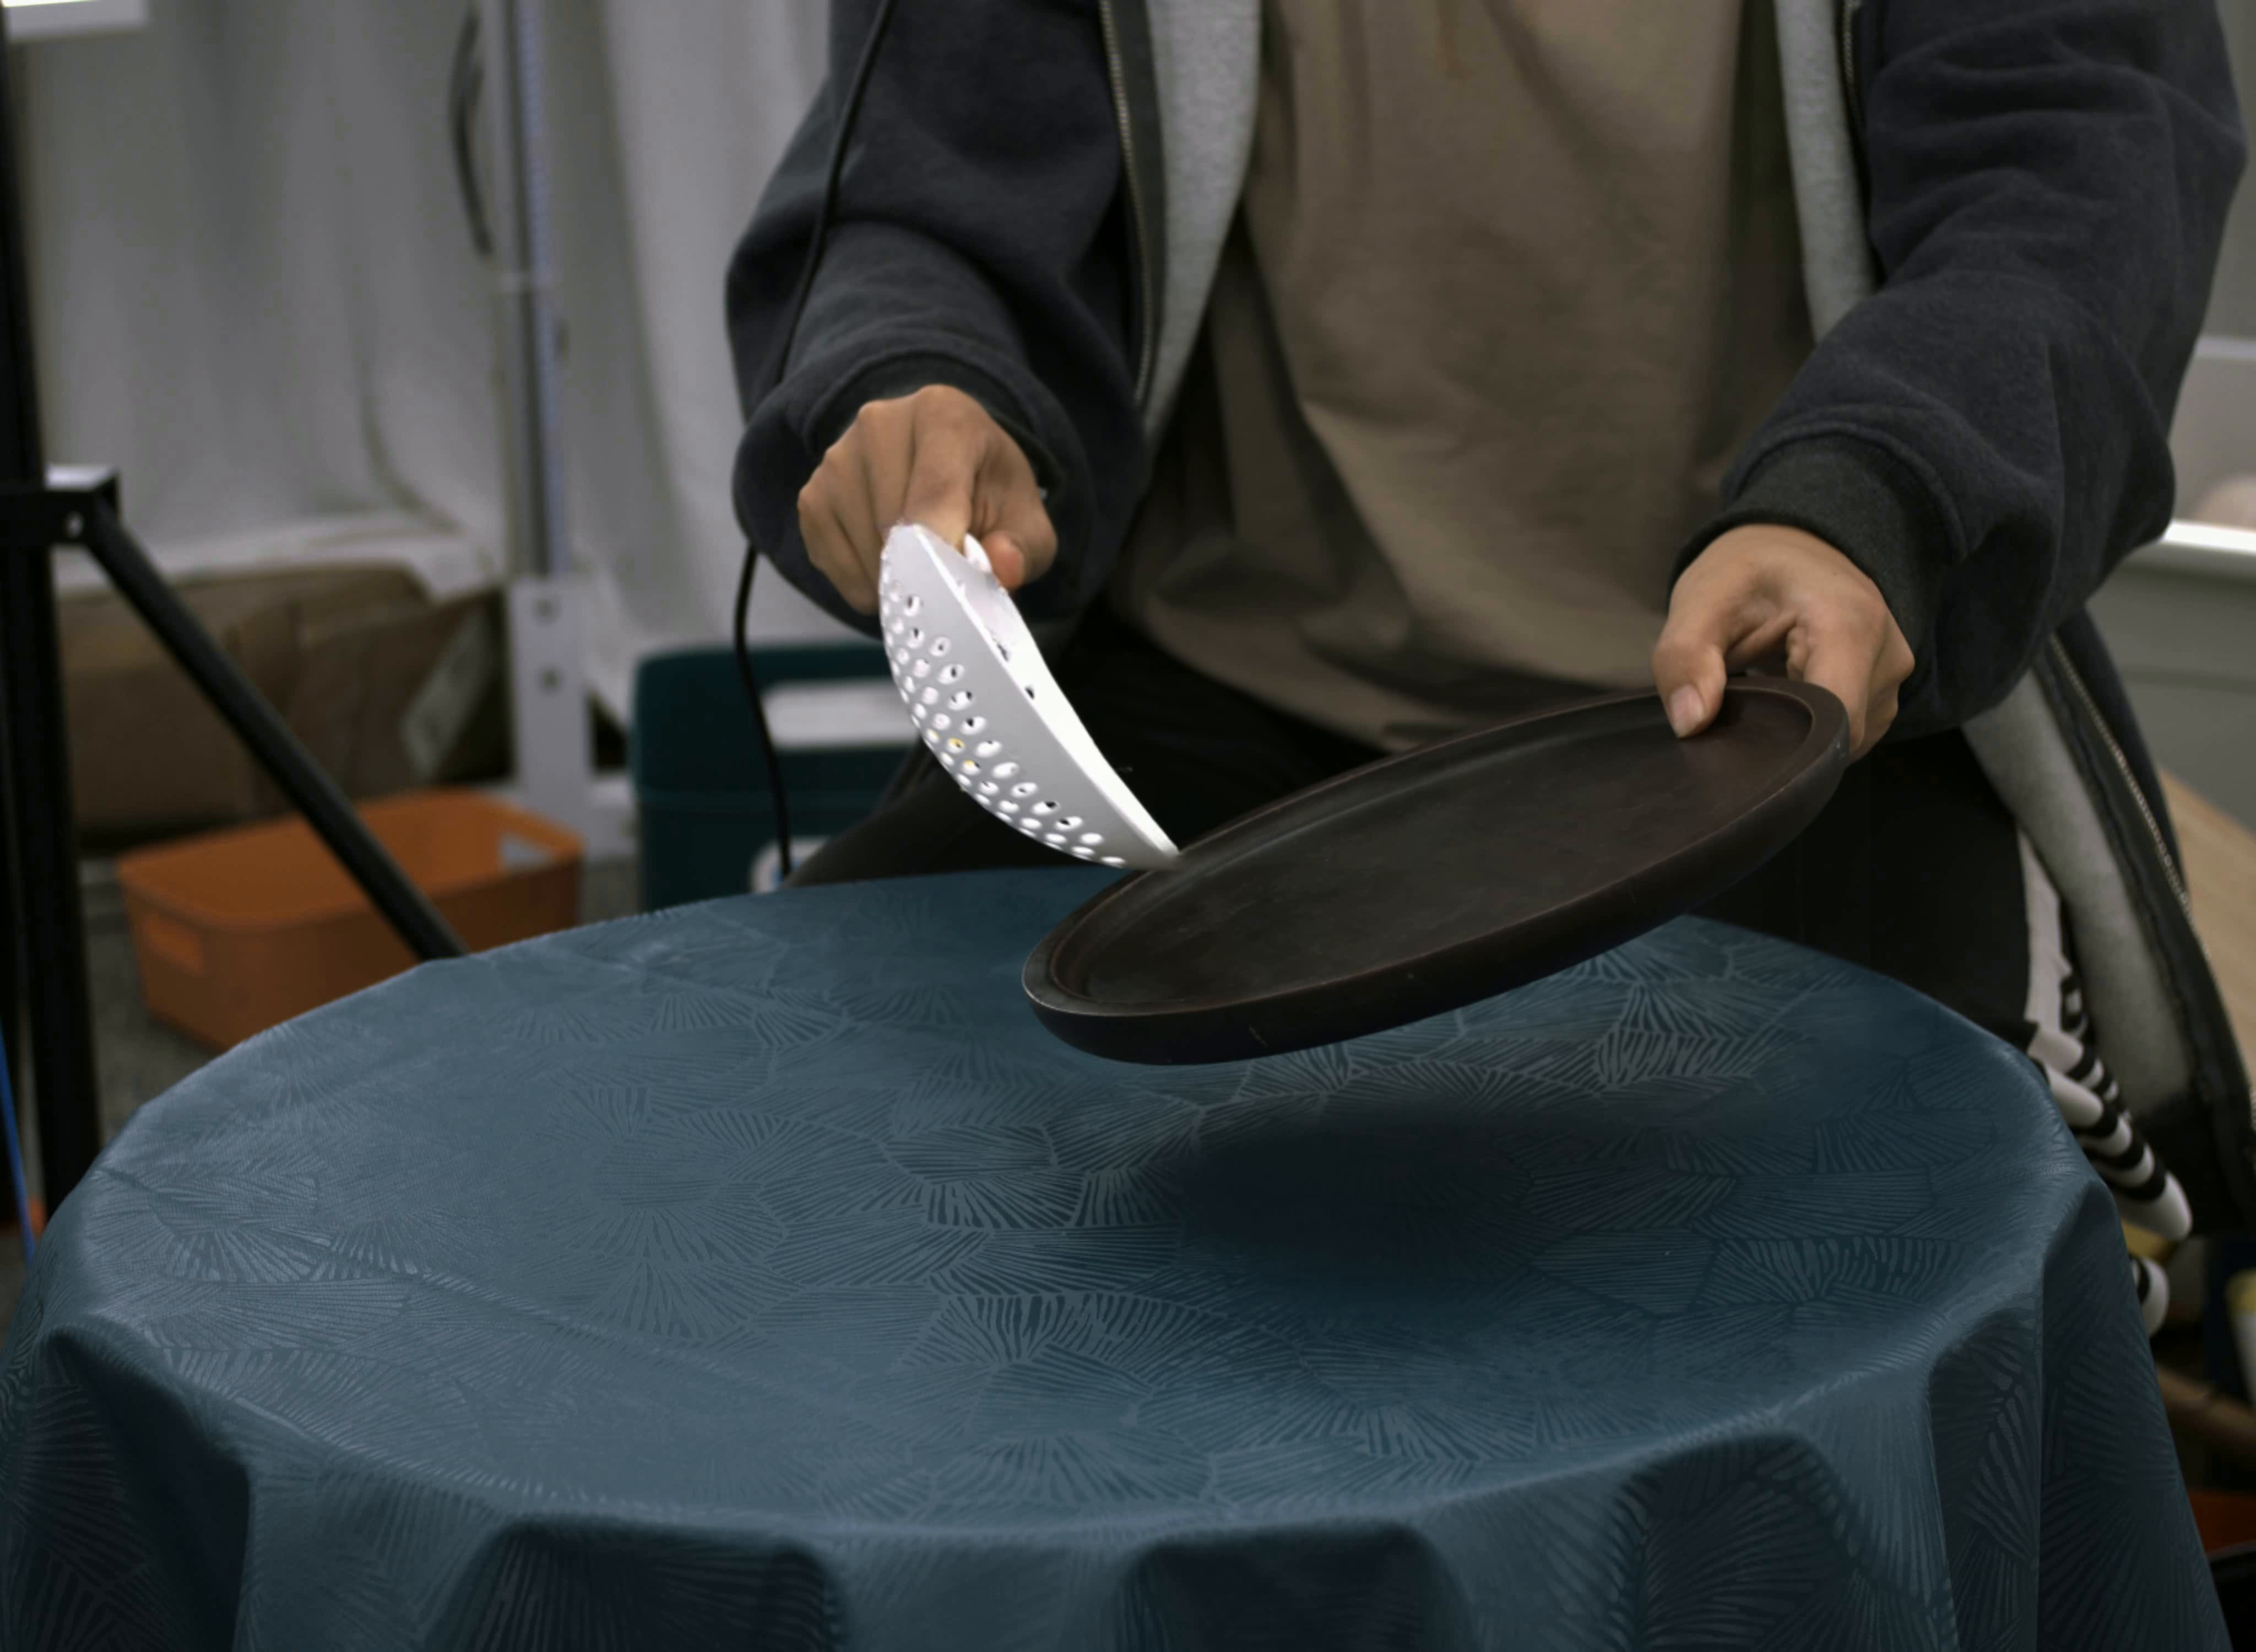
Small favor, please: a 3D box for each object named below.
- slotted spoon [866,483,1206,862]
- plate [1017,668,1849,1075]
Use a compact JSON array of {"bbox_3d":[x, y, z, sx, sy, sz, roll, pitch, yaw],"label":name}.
[{"bbox_3d":[-0.047,-0.062,1.632,0.050,0.135,0.350,-39,15,6],"label":"slotted spoon"},{"bbox_3d":[0.089,0.013,1.541,0.254,0.029,0.256,-21,11,3],"label":"plate"}]
